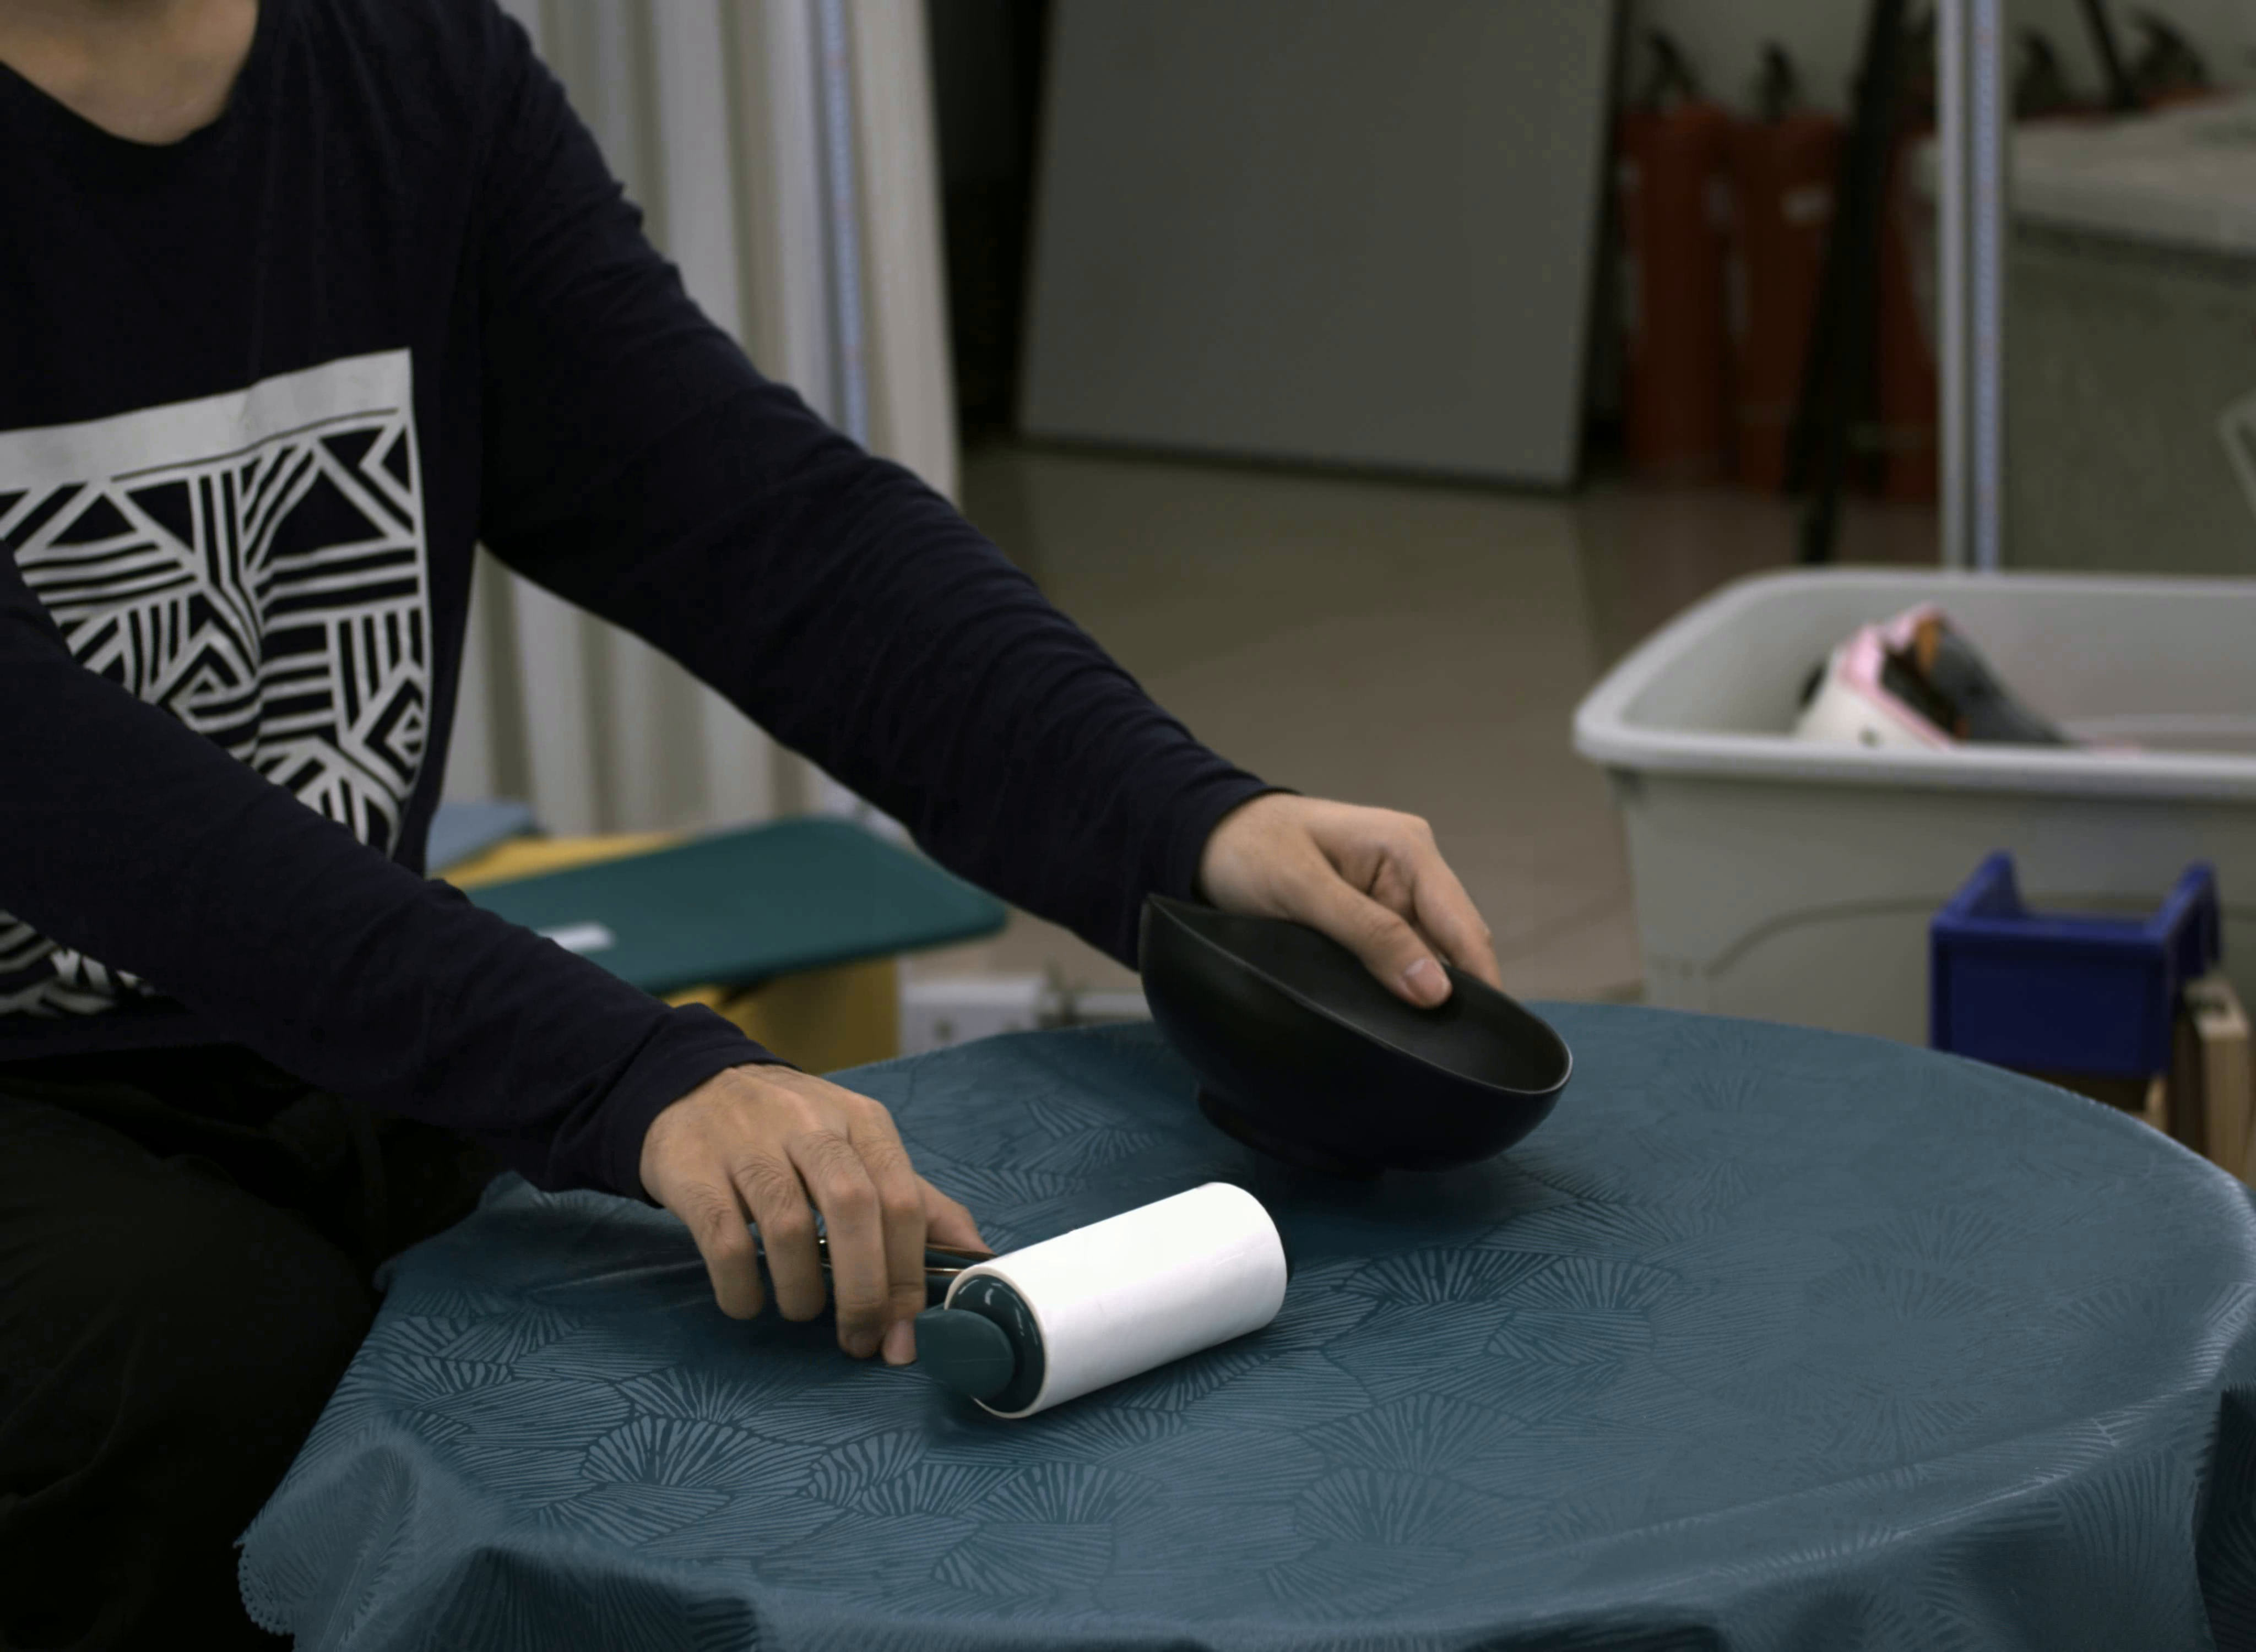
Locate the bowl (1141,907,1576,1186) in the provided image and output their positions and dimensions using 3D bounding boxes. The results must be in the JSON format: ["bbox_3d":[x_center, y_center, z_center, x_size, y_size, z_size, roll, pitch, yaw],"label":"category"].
[{"bbox_3d":[0.065,0.075,1.758,0.134,0.067,0.172,11,13,-39],"label":"bowl"}]

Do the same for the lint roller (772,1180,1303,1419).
[{"bbox_3d":[-0.049,0.135,1.647,0.131,0.049,0.182,-16,14,-41],"label":"lint roller"}]
